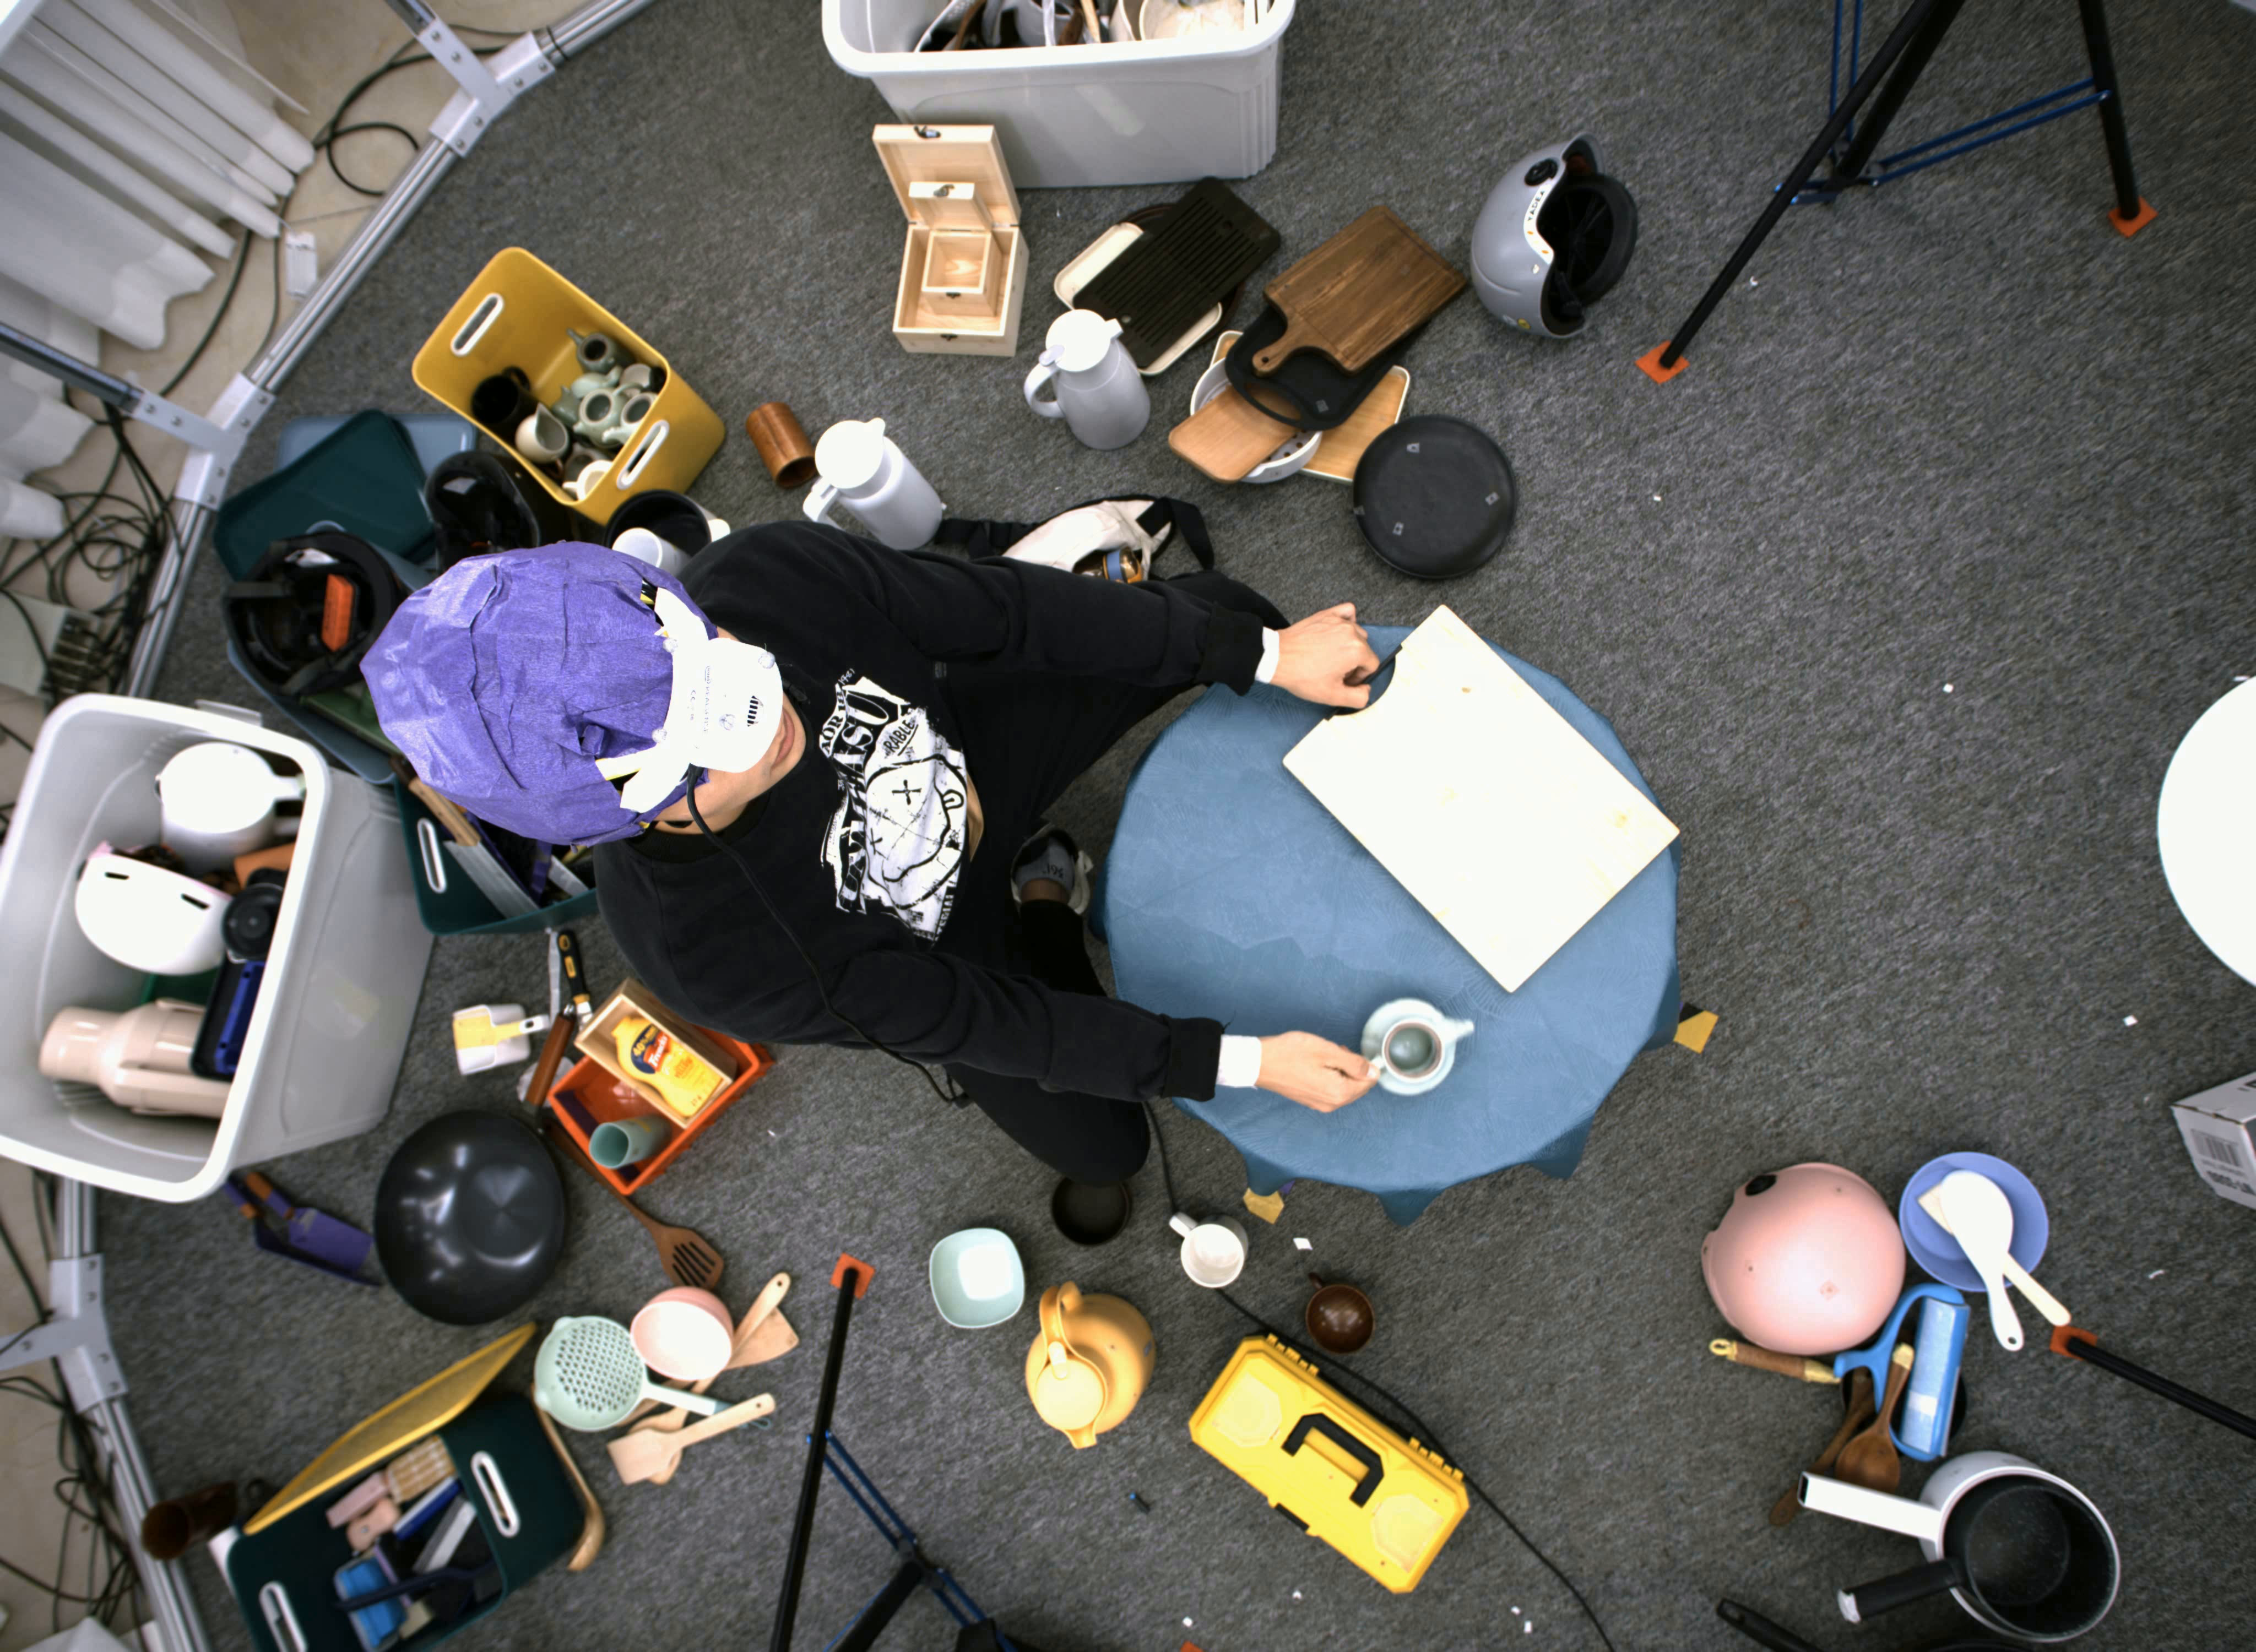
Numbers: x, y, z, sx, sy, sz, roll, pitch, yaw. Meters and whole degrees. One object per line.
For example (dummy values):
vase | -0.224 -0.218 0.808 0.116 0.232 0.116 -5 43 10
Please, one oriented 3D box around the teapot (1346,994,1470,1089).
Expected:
teapot | 0.279 0.219 1.394 0.137 0.061 0.096 -28 89 2

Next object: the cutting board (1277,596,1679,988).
cutting board | 0.361 -0.037 1.437 0.347 0.023 0.252 45 95 8
